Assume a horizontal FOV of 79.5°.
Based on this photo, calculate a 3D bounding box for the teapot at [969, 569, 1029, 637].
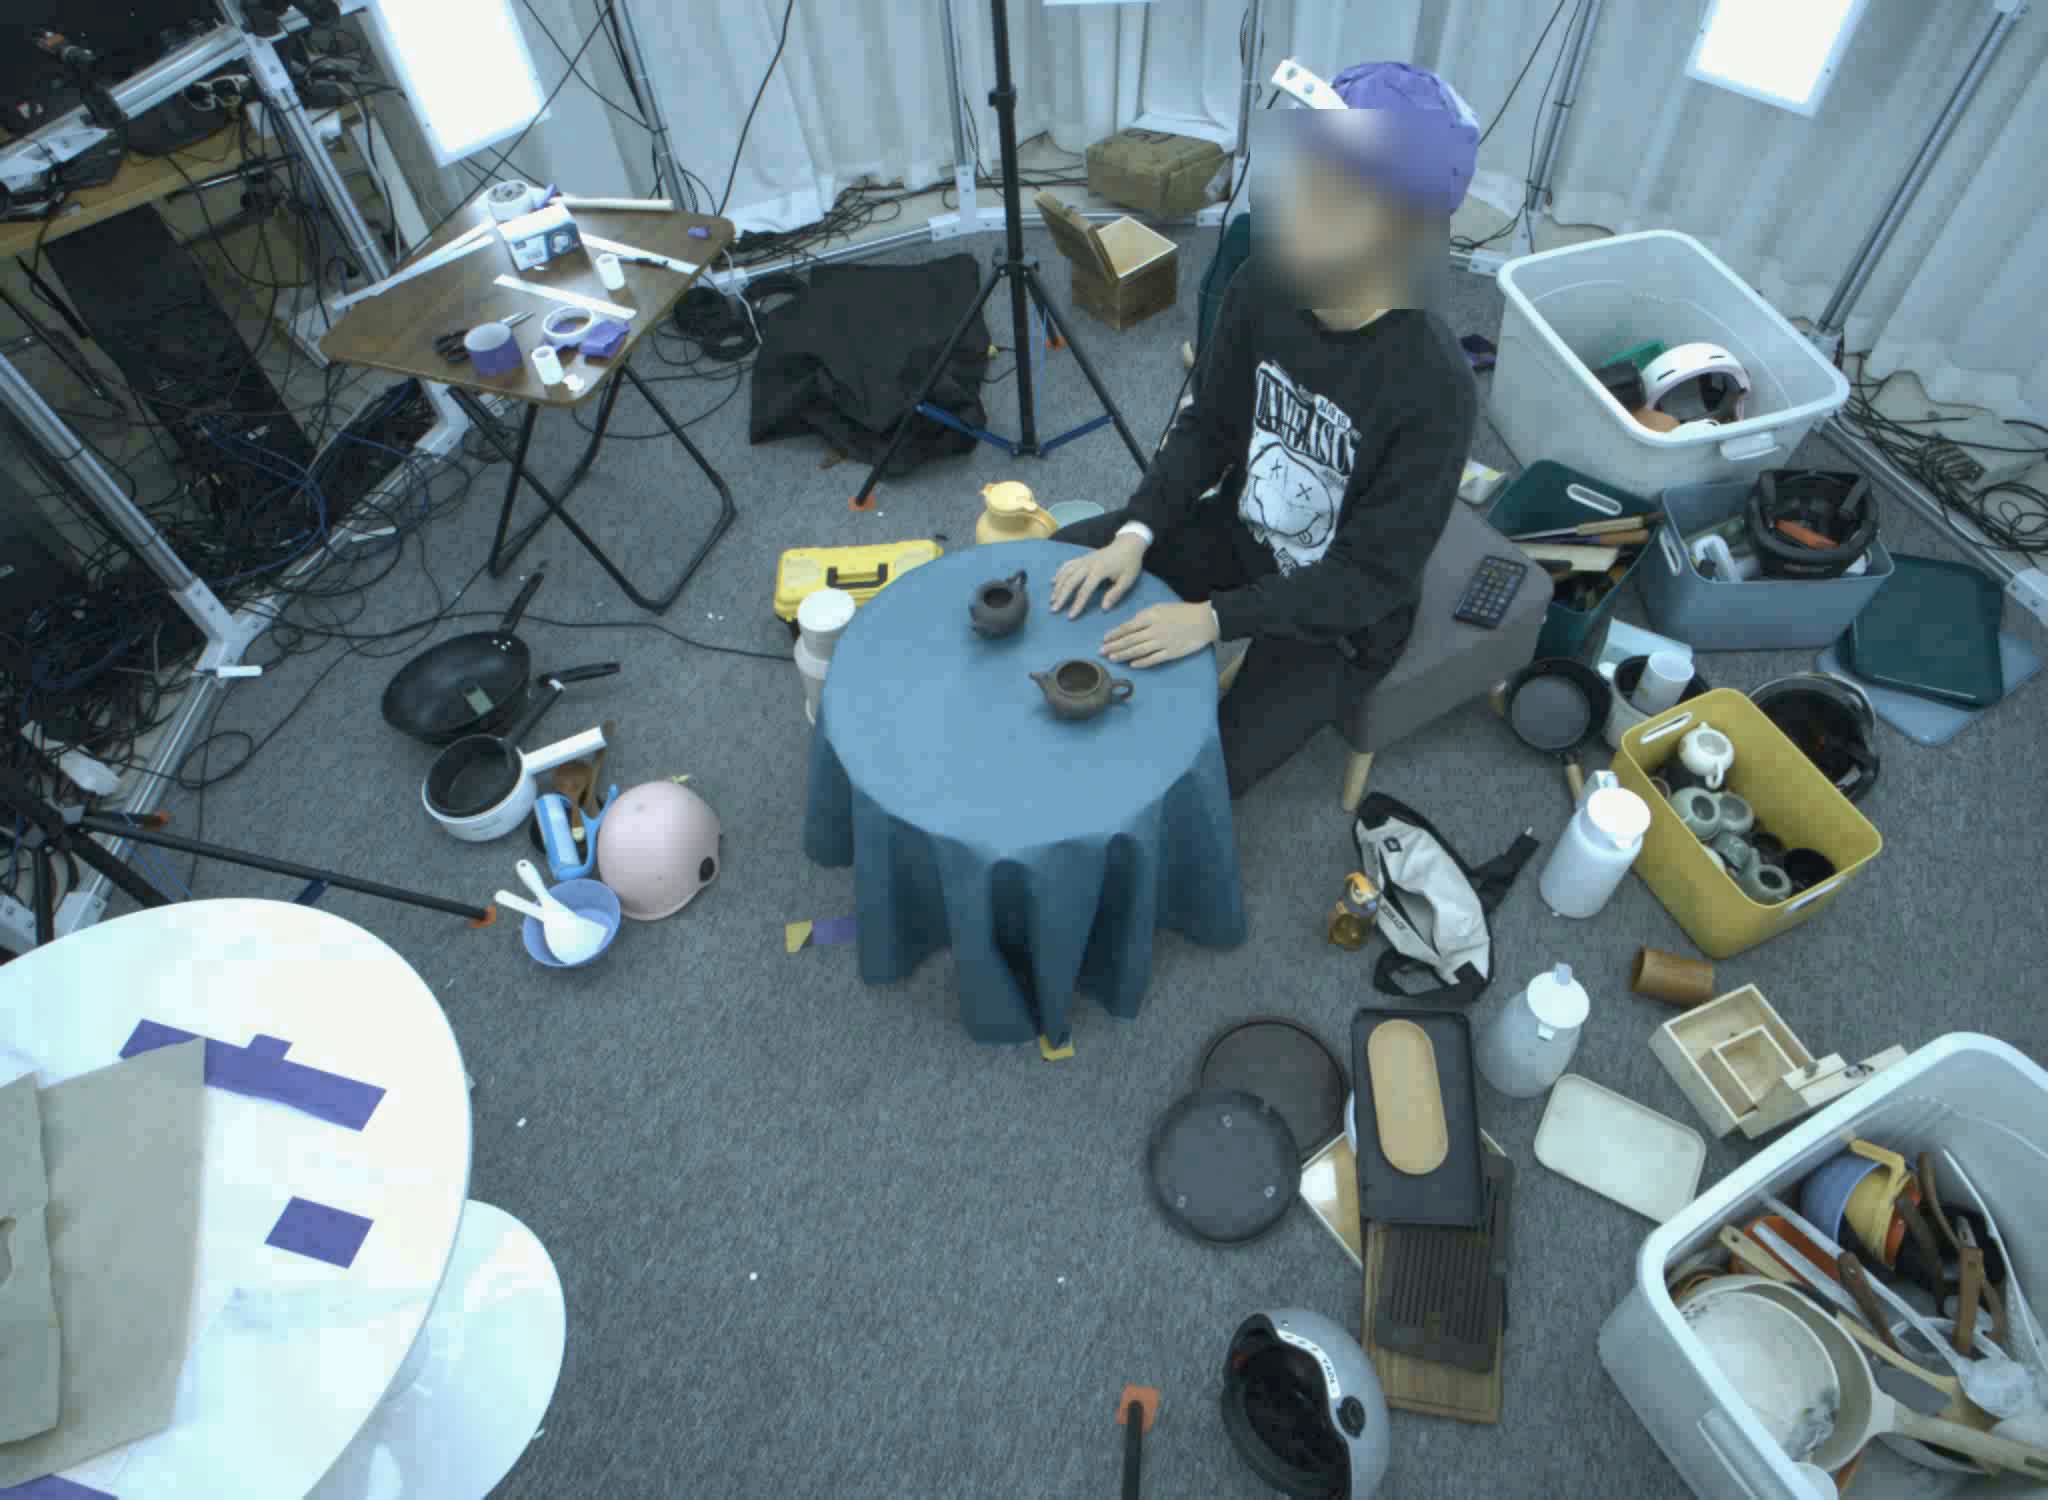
[{"bbox_3d":[-0.038,-0.224,1.905,0.091,0.065,0.154,26,60,17],"label":"teapot"}]

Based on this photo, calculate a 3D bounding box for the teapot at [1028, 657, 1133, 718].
[{"bbox_3d":[0.084,-0.094,1.814,0.153,0.054,0.101,-1,56,2],"label":"teapot"}]
